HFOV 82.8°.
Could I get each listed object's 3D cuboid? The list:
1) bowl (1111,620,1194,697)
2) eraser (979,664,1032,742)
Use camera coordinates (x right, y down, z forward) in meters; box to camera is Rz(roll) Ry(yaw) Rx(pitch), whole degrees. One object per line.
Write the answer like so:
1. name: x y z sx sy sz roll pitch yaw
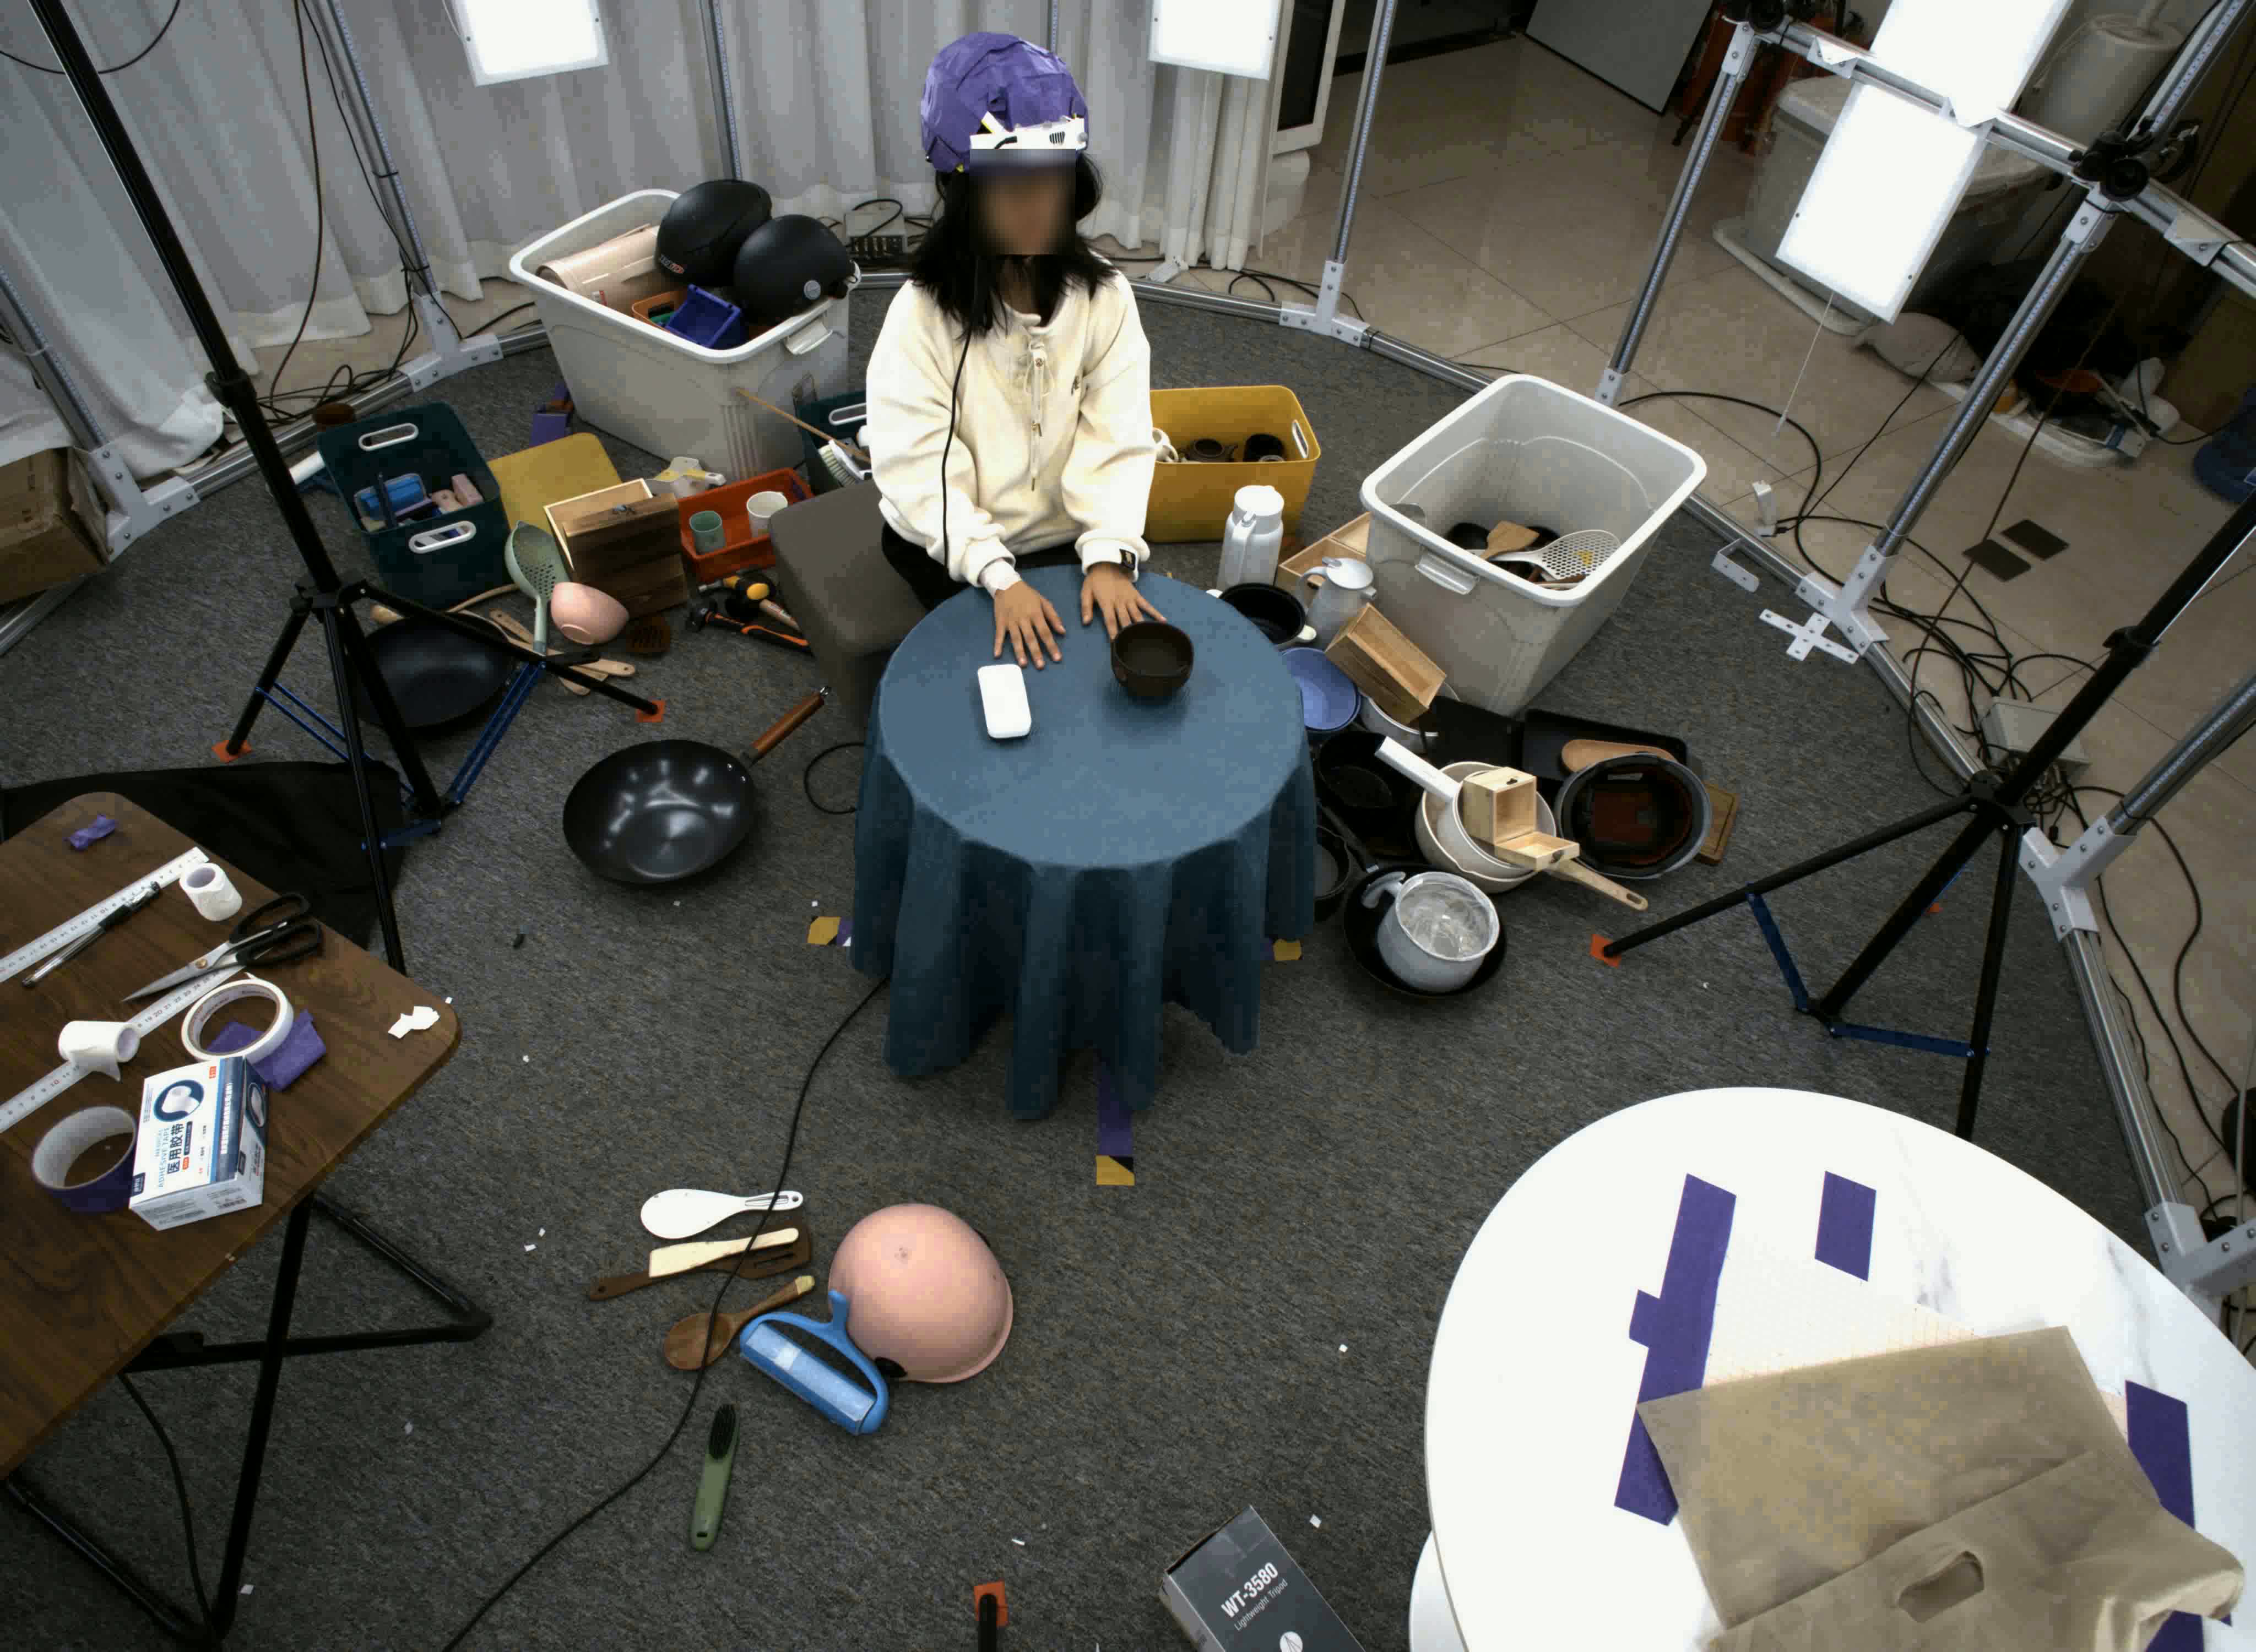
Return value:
1. bowl: 0.033 -0.230 1.825 0.118 0.068 0.121 3 48 -3
2. eraser: -0.171 -0.175 1.790 0.063 0.034 0.134 -5 50 -9
